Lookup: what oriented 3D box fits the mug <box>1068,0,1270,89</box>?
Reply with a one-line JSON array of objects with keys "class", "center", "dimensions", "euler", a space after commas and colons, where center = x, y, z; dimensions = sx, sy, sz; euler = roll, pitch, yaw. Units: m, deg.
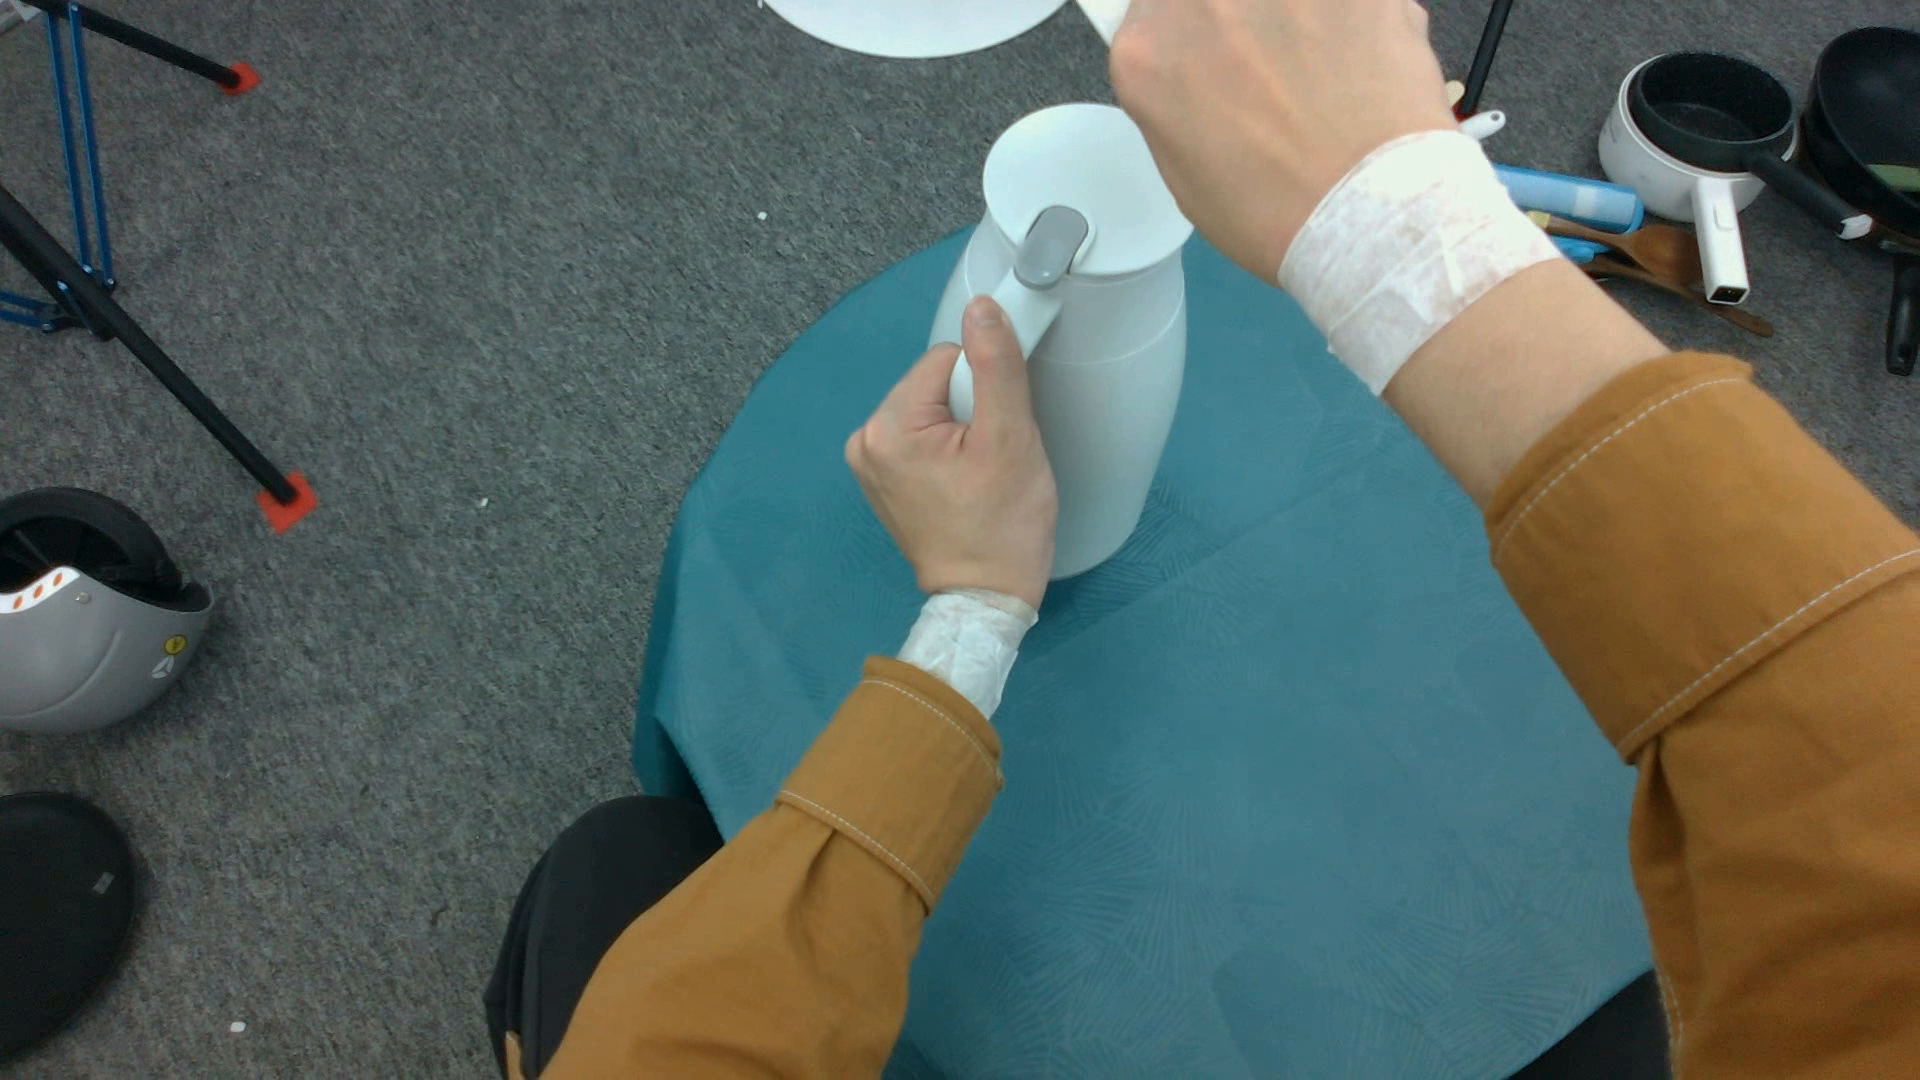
[{"class": "mug", "center": [0.085, -0.213, 0.466], "dimensions": [0.101, 0.085, 0.119], "euler": [-34, 34, 28]}]

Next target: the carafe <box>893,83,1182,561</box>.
[{"class": "carafe", "center": [0.030, -0.088, 0.665], "dimensions": [0.132, 0.247, 0.168], "euler": [29, 64, 9]}]
